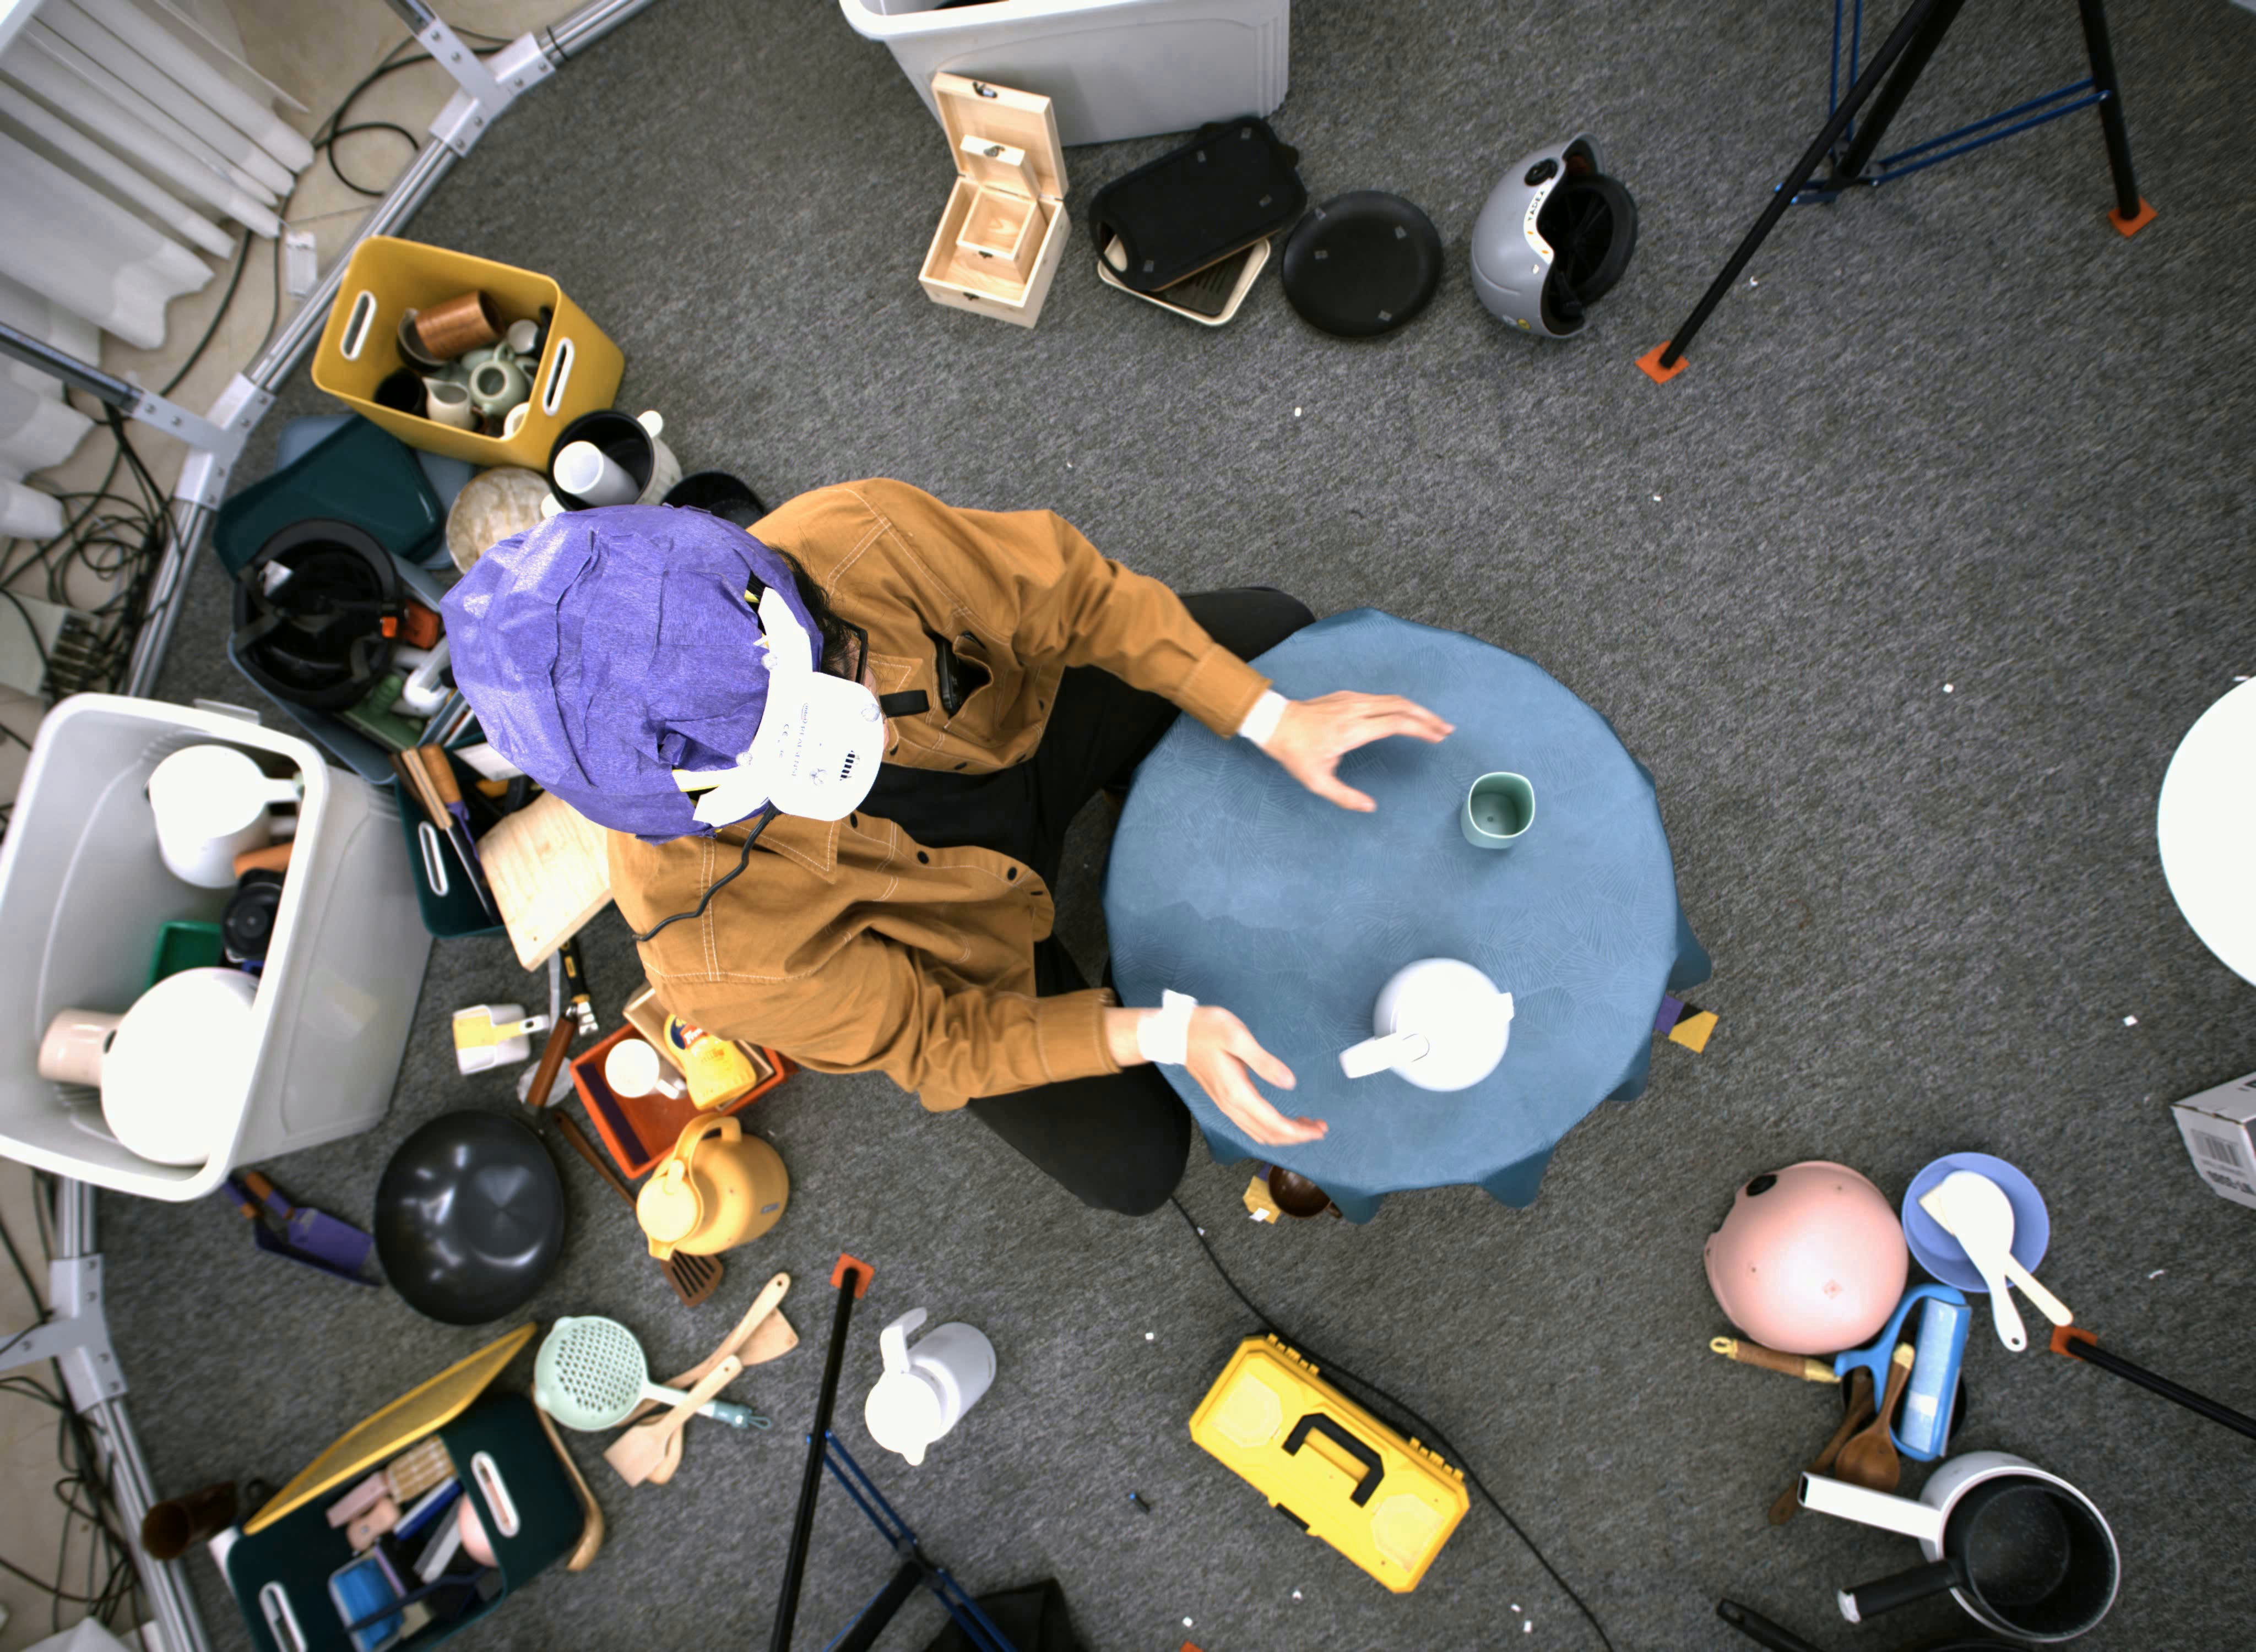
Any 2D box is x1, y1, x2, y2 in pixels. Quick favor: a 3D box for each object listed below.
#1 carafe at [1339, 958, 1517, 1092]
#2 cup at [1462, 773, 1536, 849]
[{"bbox_3d":[0.284,0.199,1.327,0.169,0.249,0.131,-24,81,8],"label":"carafe"},{"bbox_3d":[0.370,-0.015,1.383,0.067,0.132,0.066,-1,84,10],"label":"cup"}]
